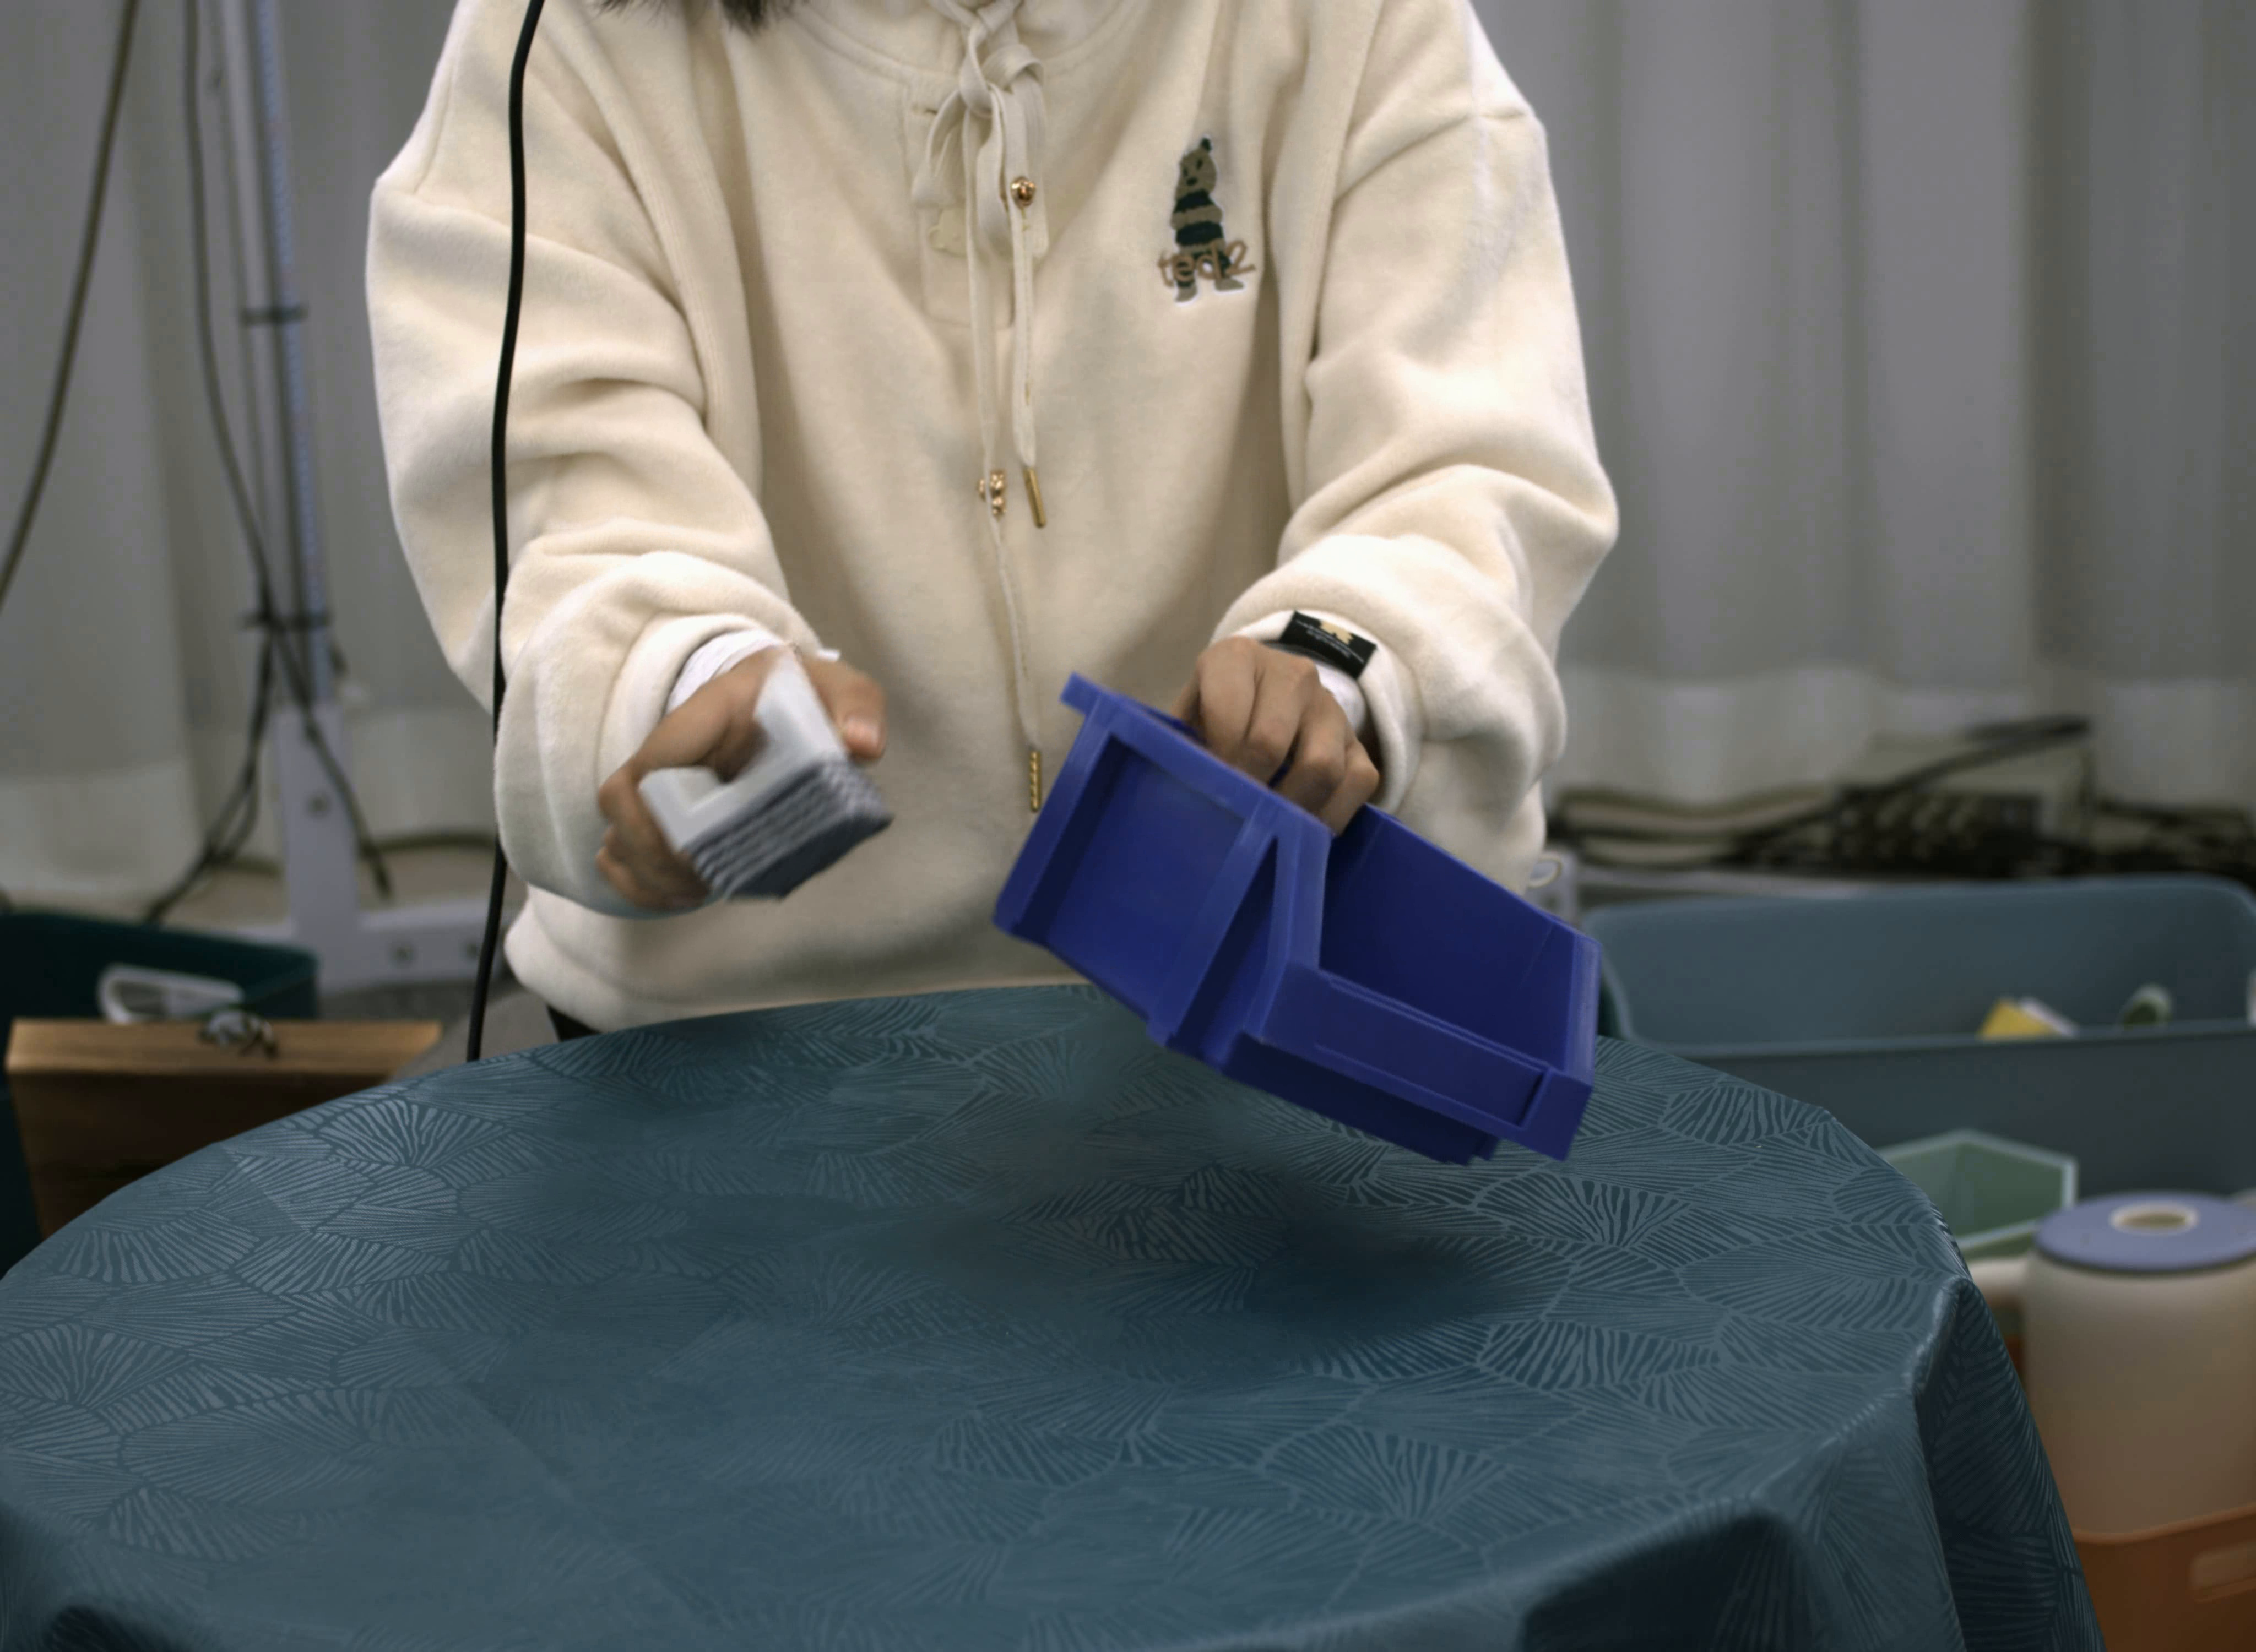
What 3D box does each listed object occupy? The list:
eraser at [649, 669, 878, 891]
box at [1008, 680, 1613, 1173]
[{"bbox_3d":[-0.106,-0.012,1.628,0.050,0.046,0.134,-37,-1,-1],"label":"eraser"},{"bbox_3d":[0.057,0.036,1.649,0.123,0.082,0.181,25,2,-31],"label":"box"}]
